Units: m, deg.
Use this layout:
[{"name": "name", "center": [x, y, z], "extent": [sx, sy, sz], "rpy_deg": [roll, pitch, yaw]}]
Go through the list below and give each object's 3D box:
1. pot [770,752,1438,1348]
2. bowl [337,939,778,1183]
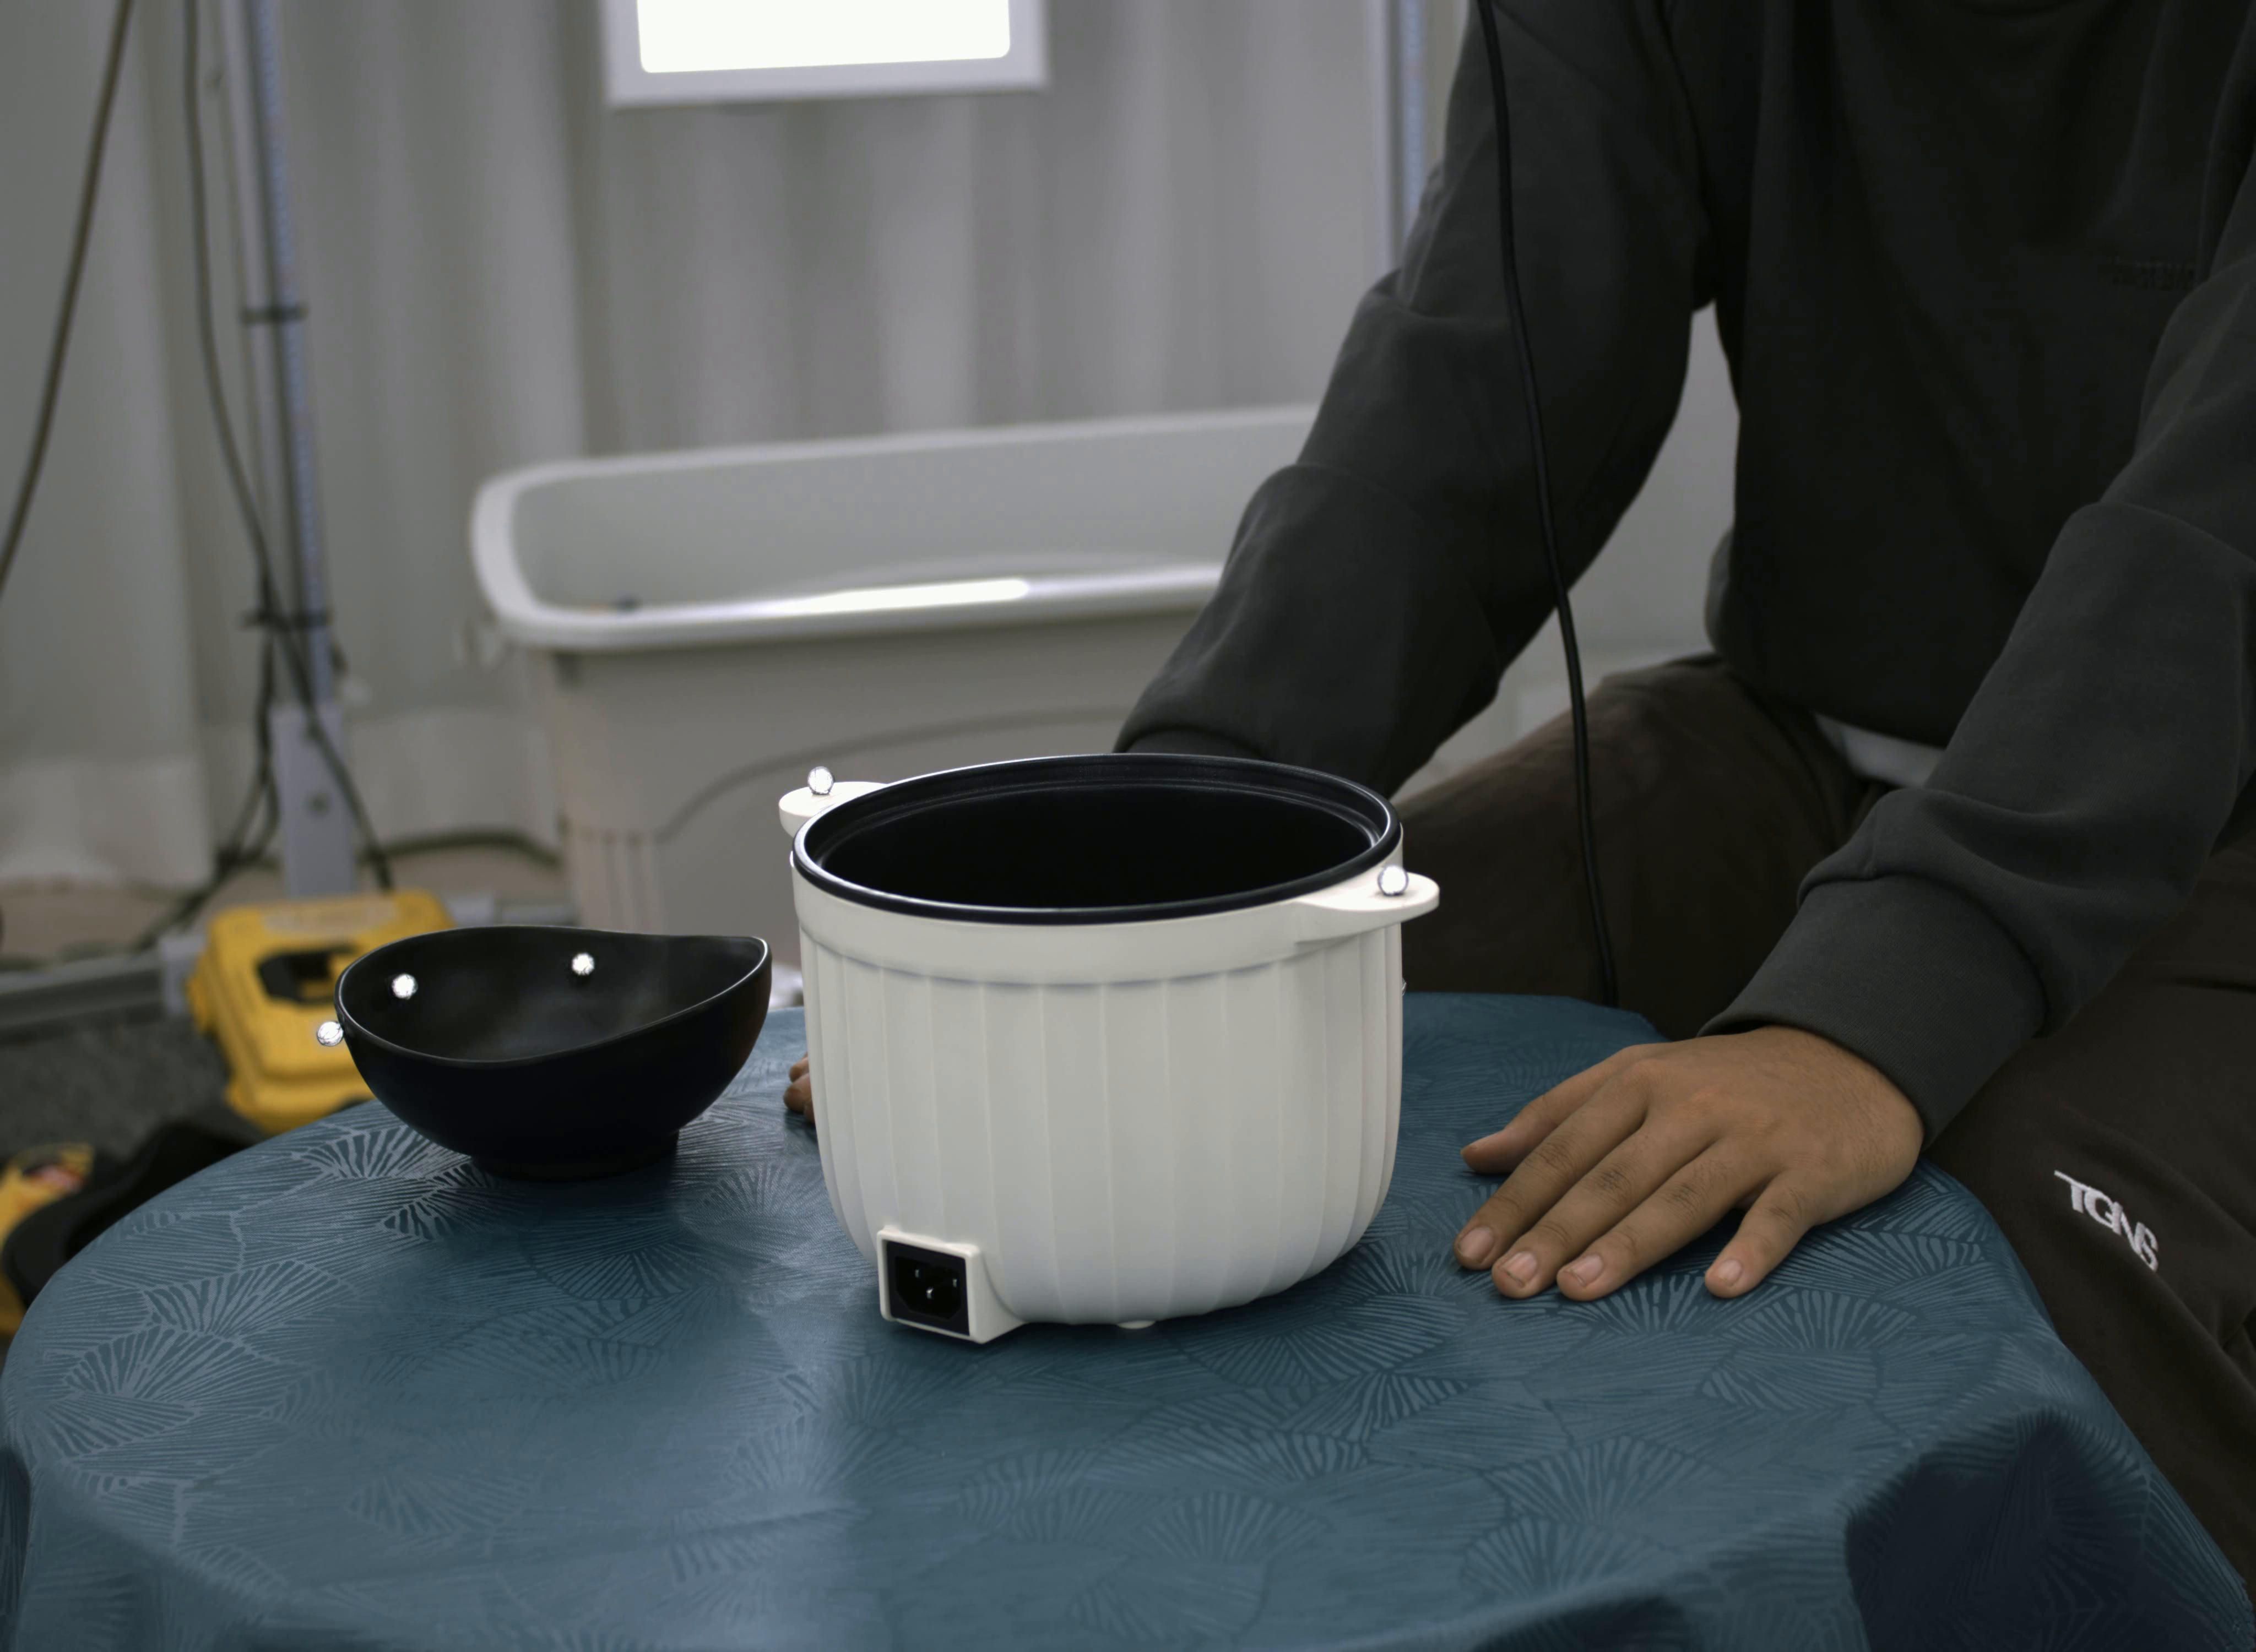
[{"name": "pot", "center": [-0.005, 0.064, 1.643], "extent": [0.241, 0.142, 0.190], "rpy_deg": [10, 22, 37]}, {"name": "bowl", "center": [-0.182, 0.076, 1.771], "extent": [0.137, 0.066, 0.171], "rpy_deg": [2, 14, 16]}]
